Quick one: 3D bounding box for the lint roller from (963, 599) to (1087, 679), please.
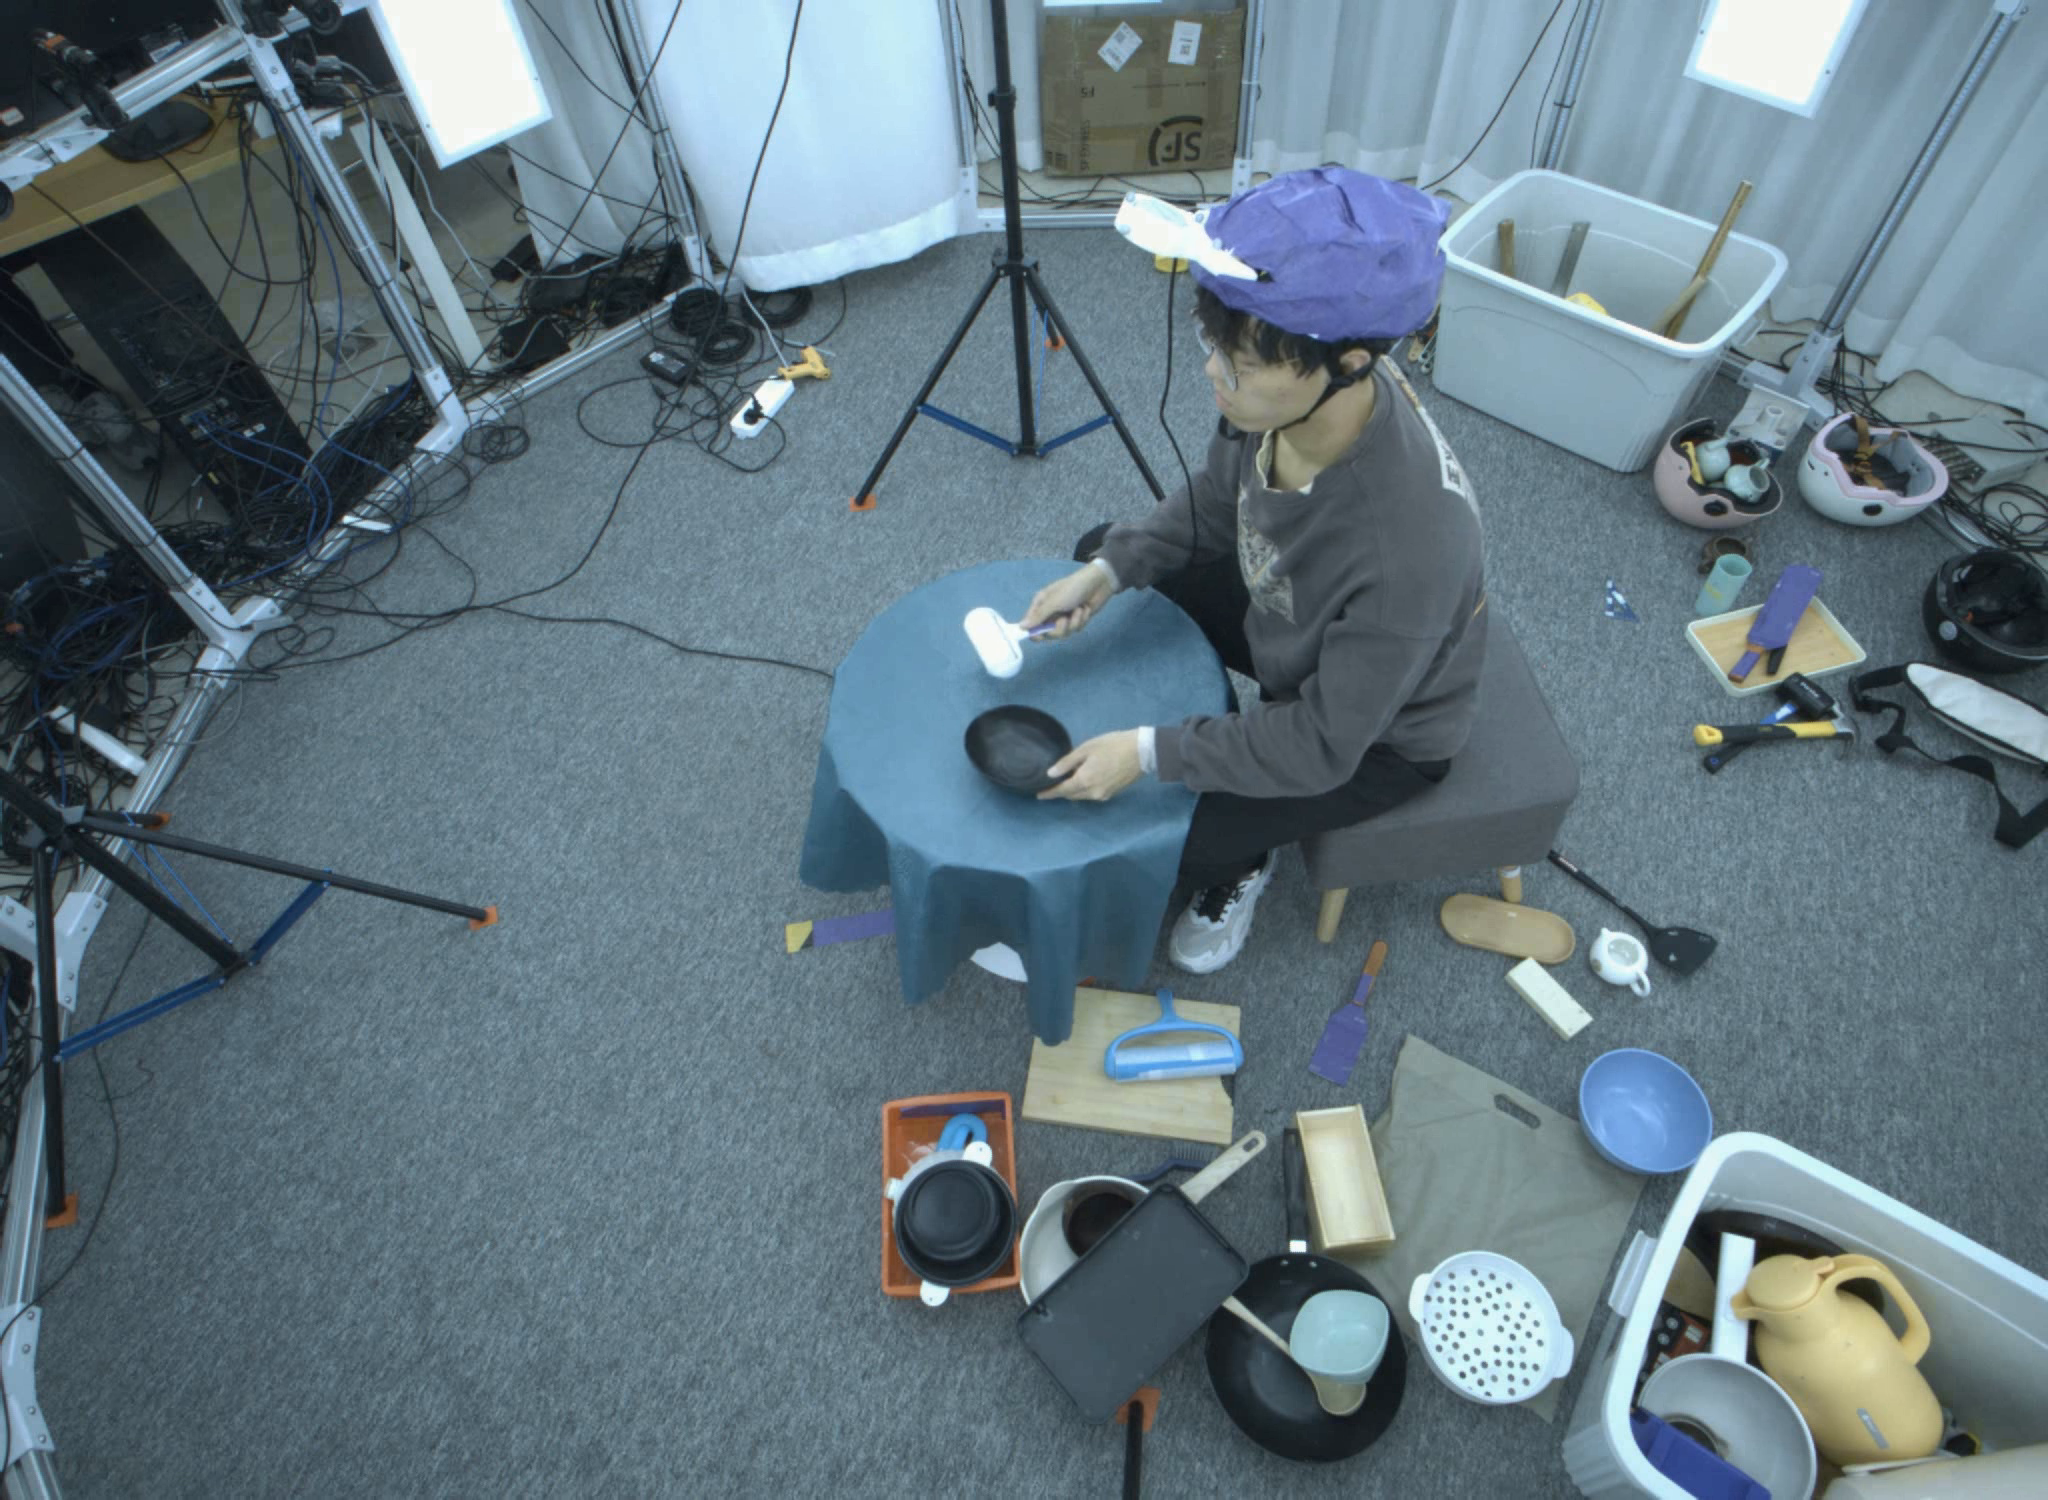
[{"bbox_3d":[0.008,-0.185,1.808,0.181,0.051,0.130,-26,54,-1],"label":"lint roller"}]

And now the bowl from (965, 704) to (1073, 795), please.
[{"bbox_3d":[-0.008,0.010,1.739,0.167,0.067,0.138,34,61,26],"label":"bowl"}]
